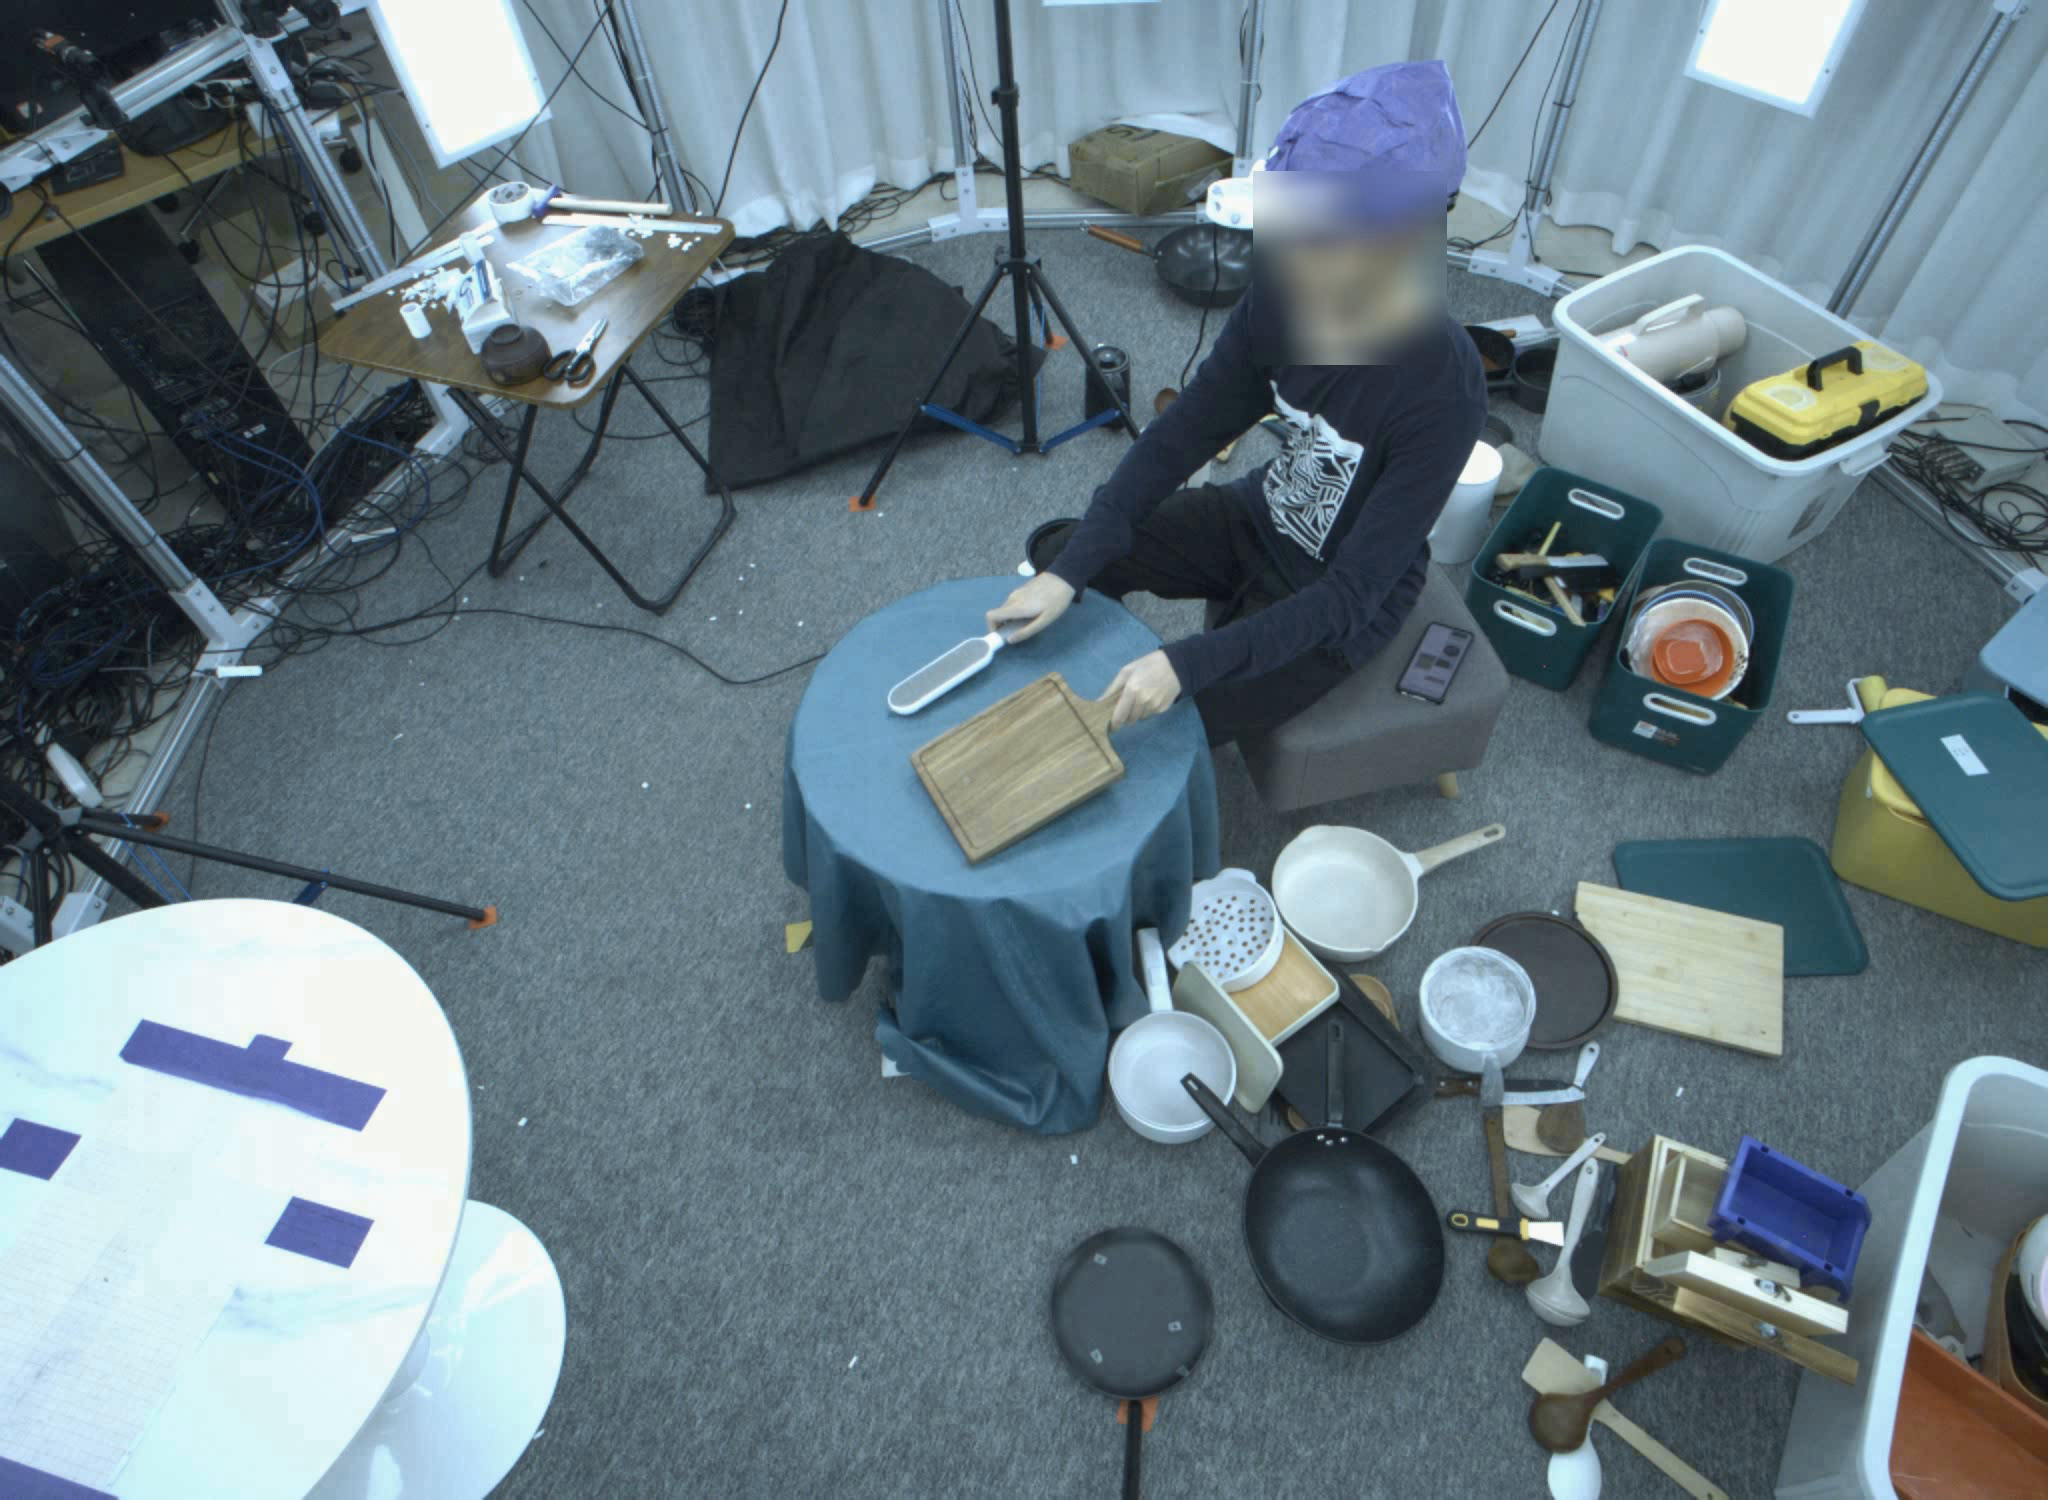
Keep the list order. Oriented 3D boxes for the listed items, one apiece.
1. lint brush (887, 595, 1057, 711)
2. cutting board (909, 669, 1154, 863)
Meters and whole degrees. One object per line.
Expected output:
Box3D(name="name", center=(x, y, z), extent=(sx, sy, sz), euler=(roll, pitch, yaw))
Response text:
Box3D(name="lint brush", center=(-0.075, -0.150, 1.868), extent=(0.310, 0.021, 0.058), euler=(-34, 44, -14))
Box3D(name="cutting board", center=(0.032, -0.006, 1.737), extent=(0.353, 0.023, 0.198), euler=(-30, 66, -8))
